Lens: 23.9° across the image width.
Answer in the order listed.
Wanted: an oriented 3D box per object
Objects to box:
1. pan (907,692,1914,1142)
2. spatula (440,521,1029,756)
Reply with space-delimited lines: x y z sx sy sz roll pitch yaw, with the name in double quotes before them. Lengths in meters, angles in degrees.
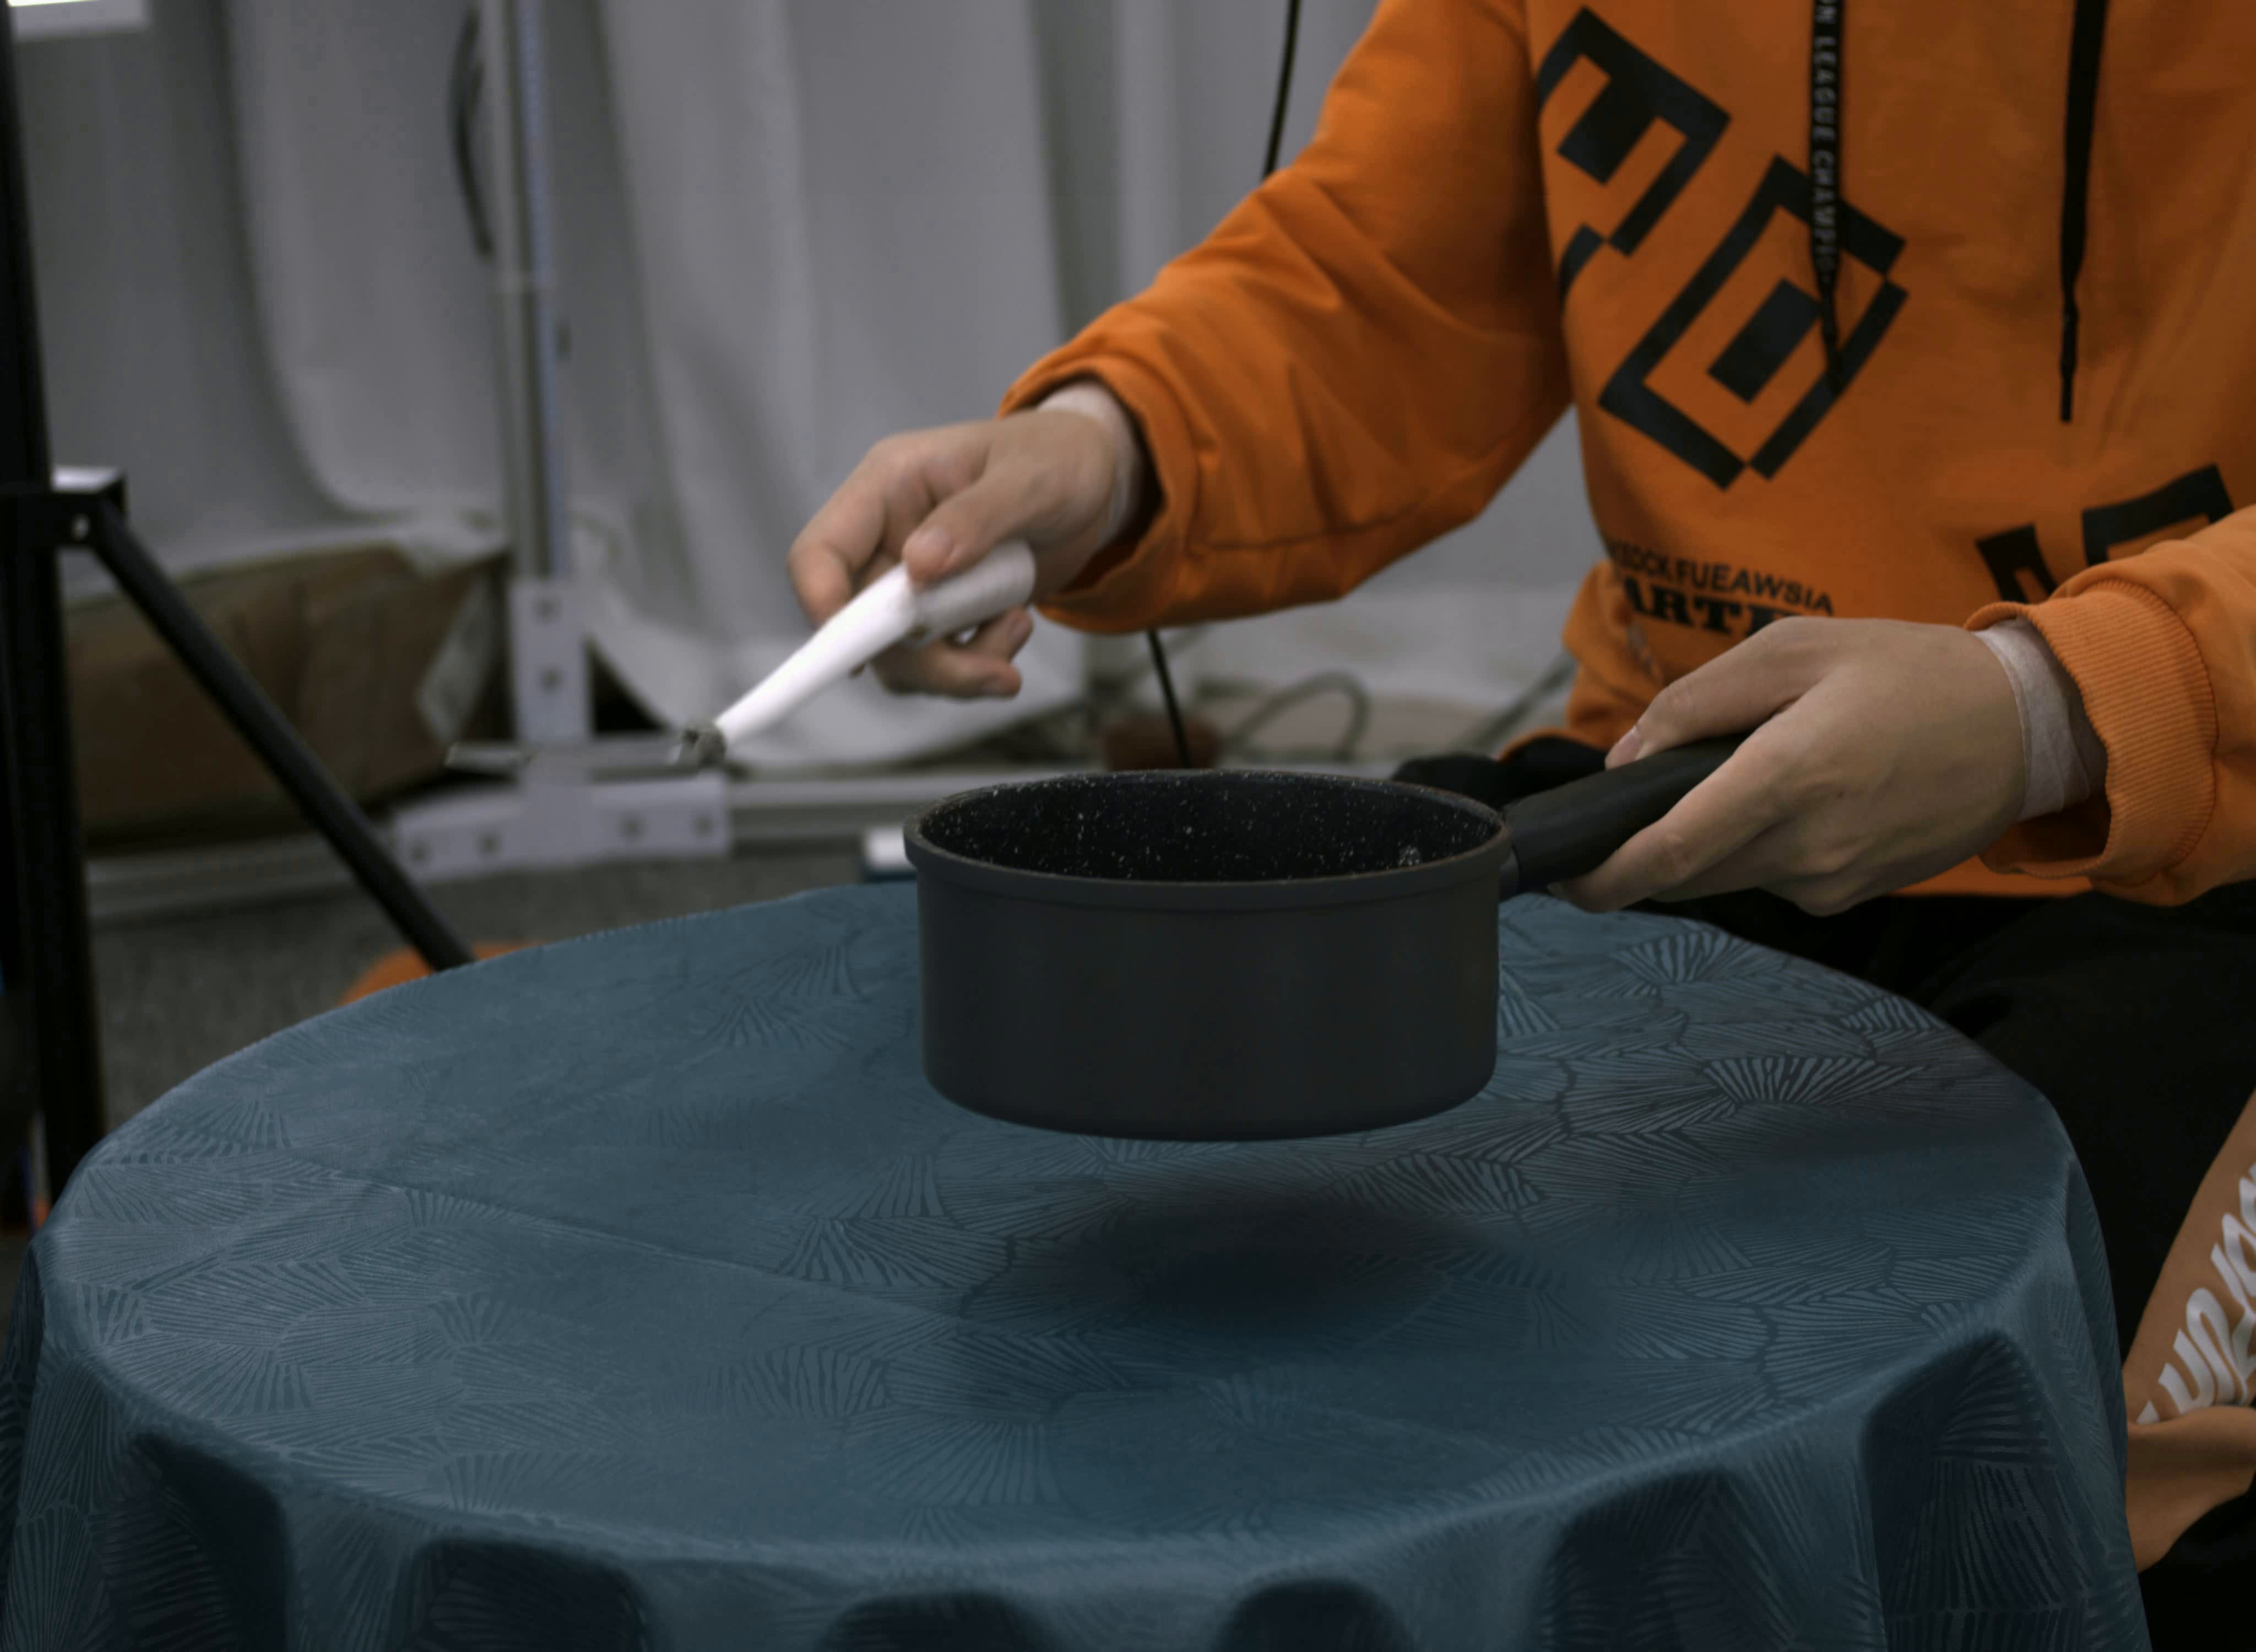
"pan" 0.090 0.023 1.526 0.321 0.086 0.175 -8 14 -30
"spatula" -0.113 -0.051 1.672 0.059 0.032 0.282 12 21 26
